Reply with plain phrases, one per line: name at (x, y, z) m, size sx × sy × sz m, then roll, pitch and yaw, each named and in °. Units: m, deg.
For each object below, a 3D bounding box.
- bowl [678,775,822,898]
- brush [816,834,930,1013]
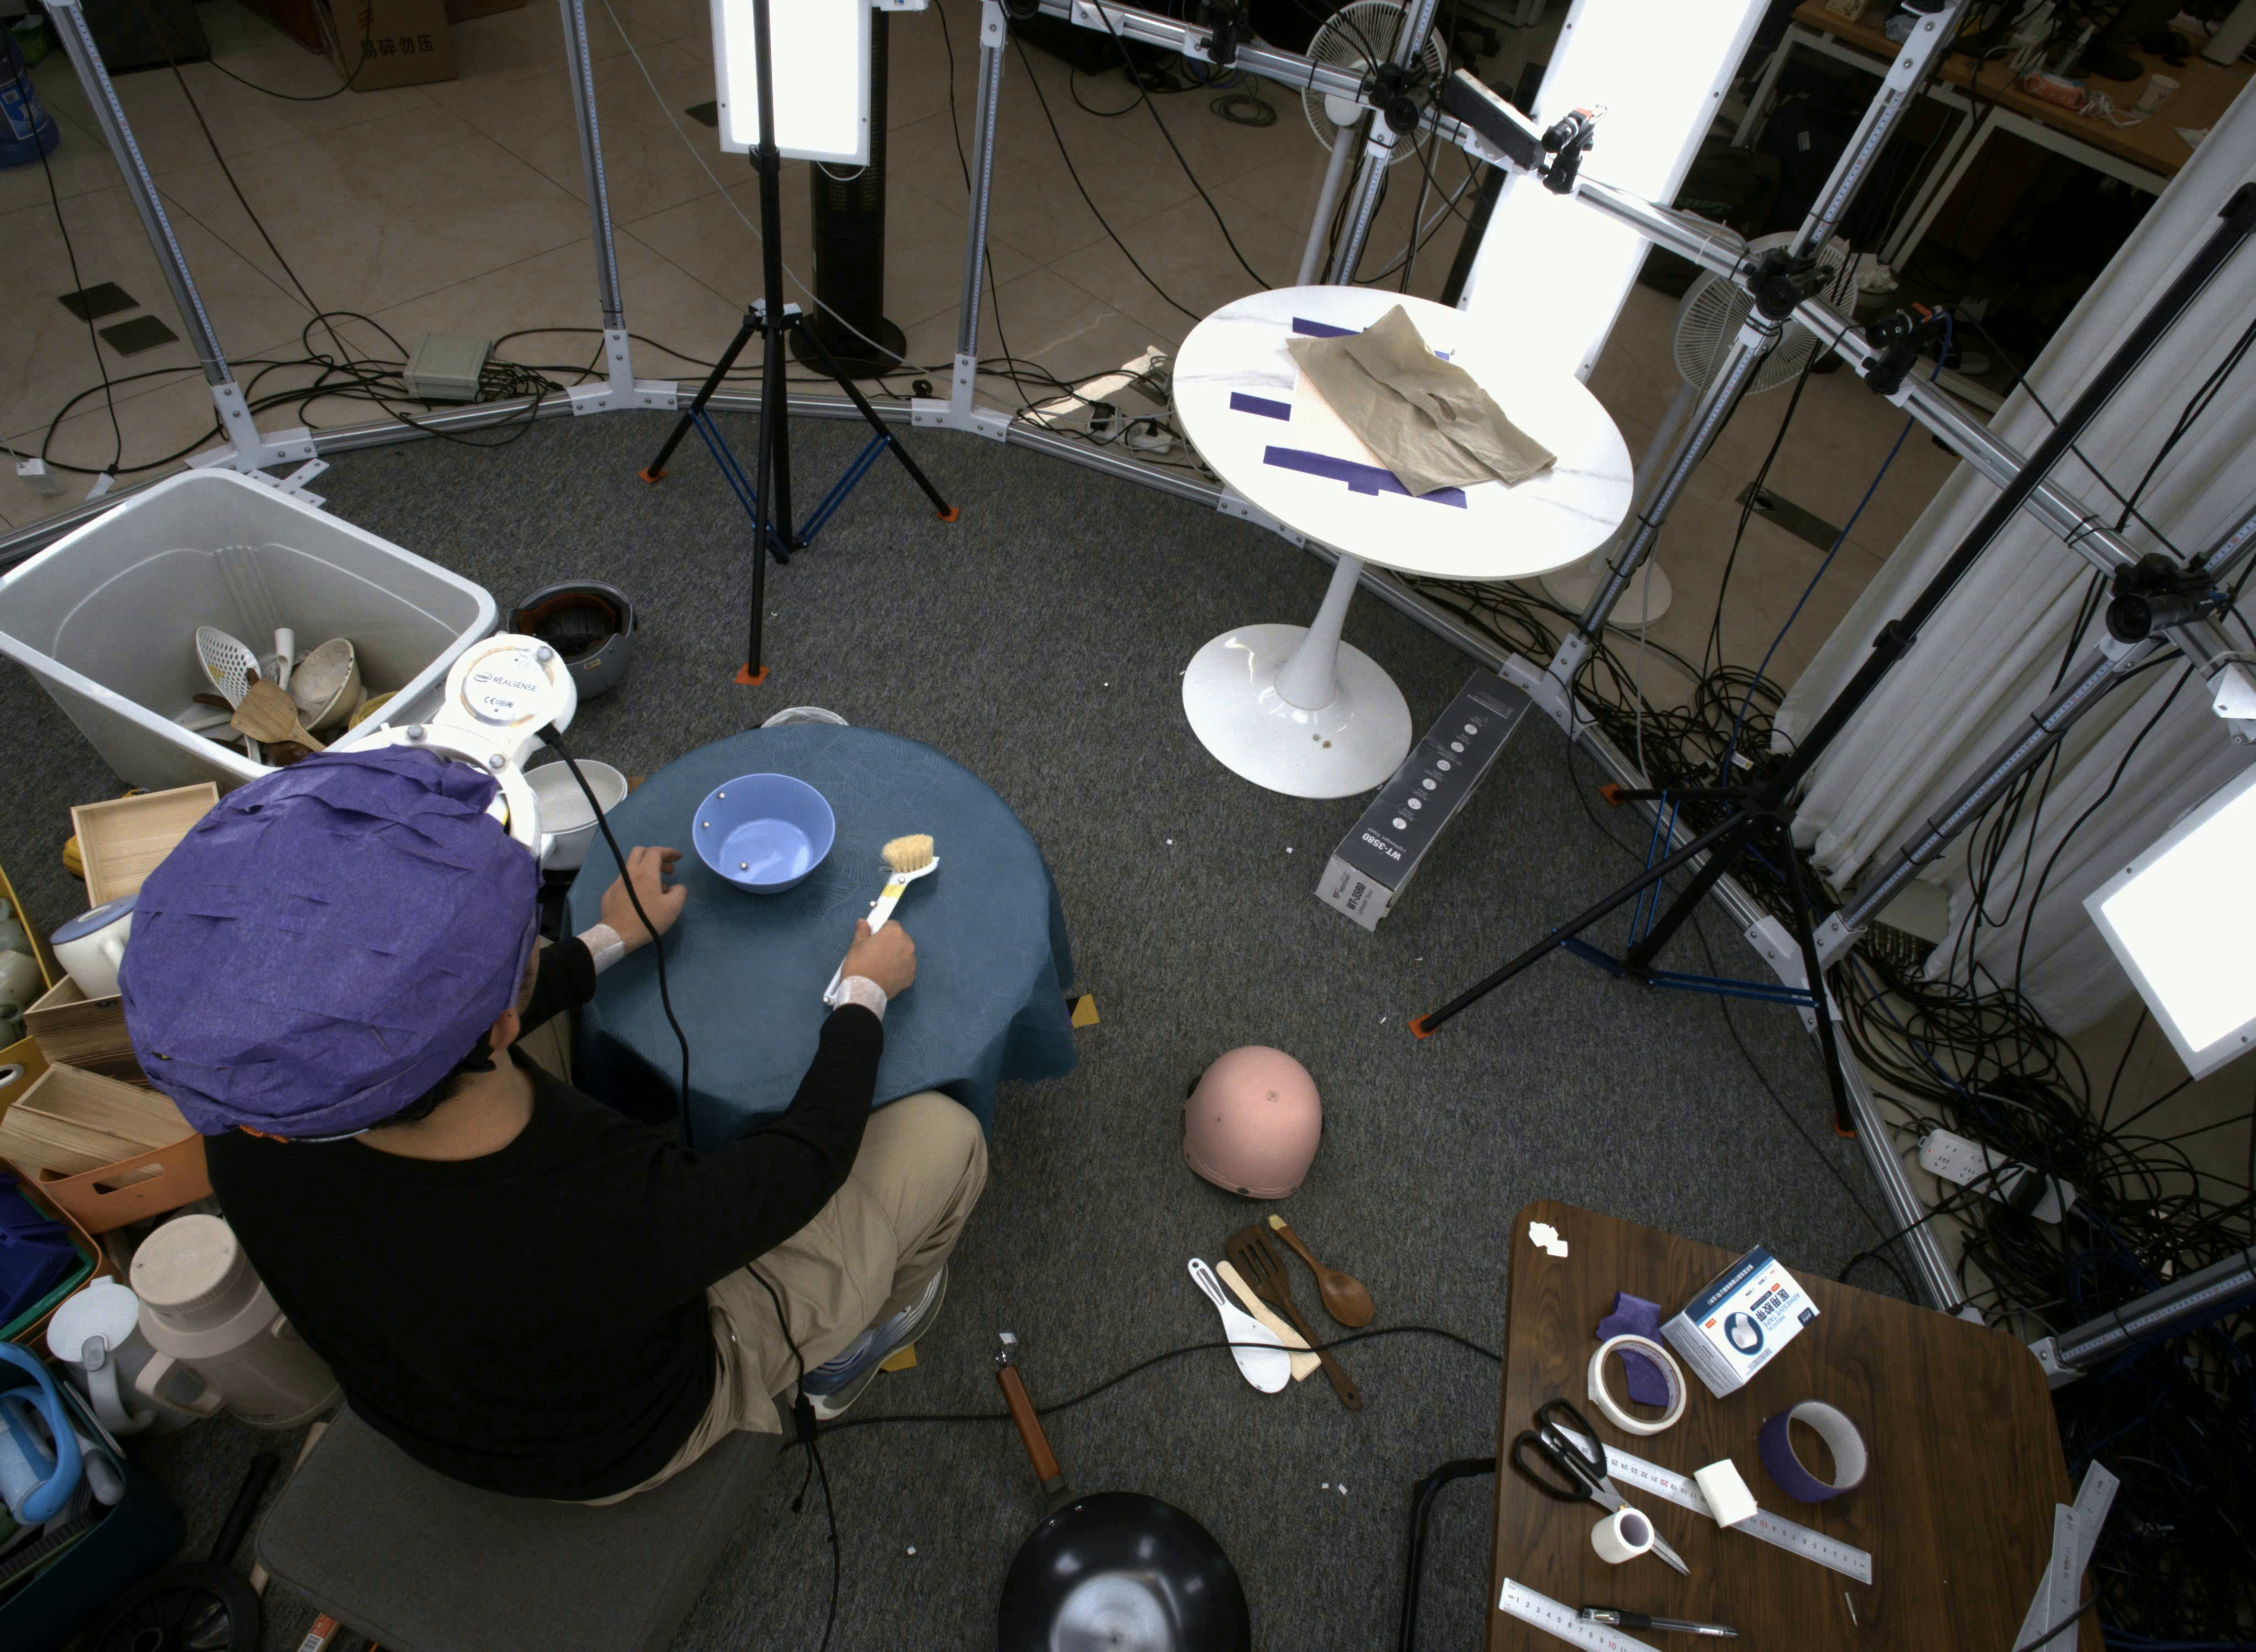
bowl at (-0.477, 0.023, 1.641) m, size 0.175 × 0.072 × 0.173 m, roll 7°, pitch 53°, yaw -8°
brush at (-0.329, 0.109, 1.621) m, size 0.066 × 0.058 × 0.265 m, roll -2°, pitch 45°, yaw 35°
